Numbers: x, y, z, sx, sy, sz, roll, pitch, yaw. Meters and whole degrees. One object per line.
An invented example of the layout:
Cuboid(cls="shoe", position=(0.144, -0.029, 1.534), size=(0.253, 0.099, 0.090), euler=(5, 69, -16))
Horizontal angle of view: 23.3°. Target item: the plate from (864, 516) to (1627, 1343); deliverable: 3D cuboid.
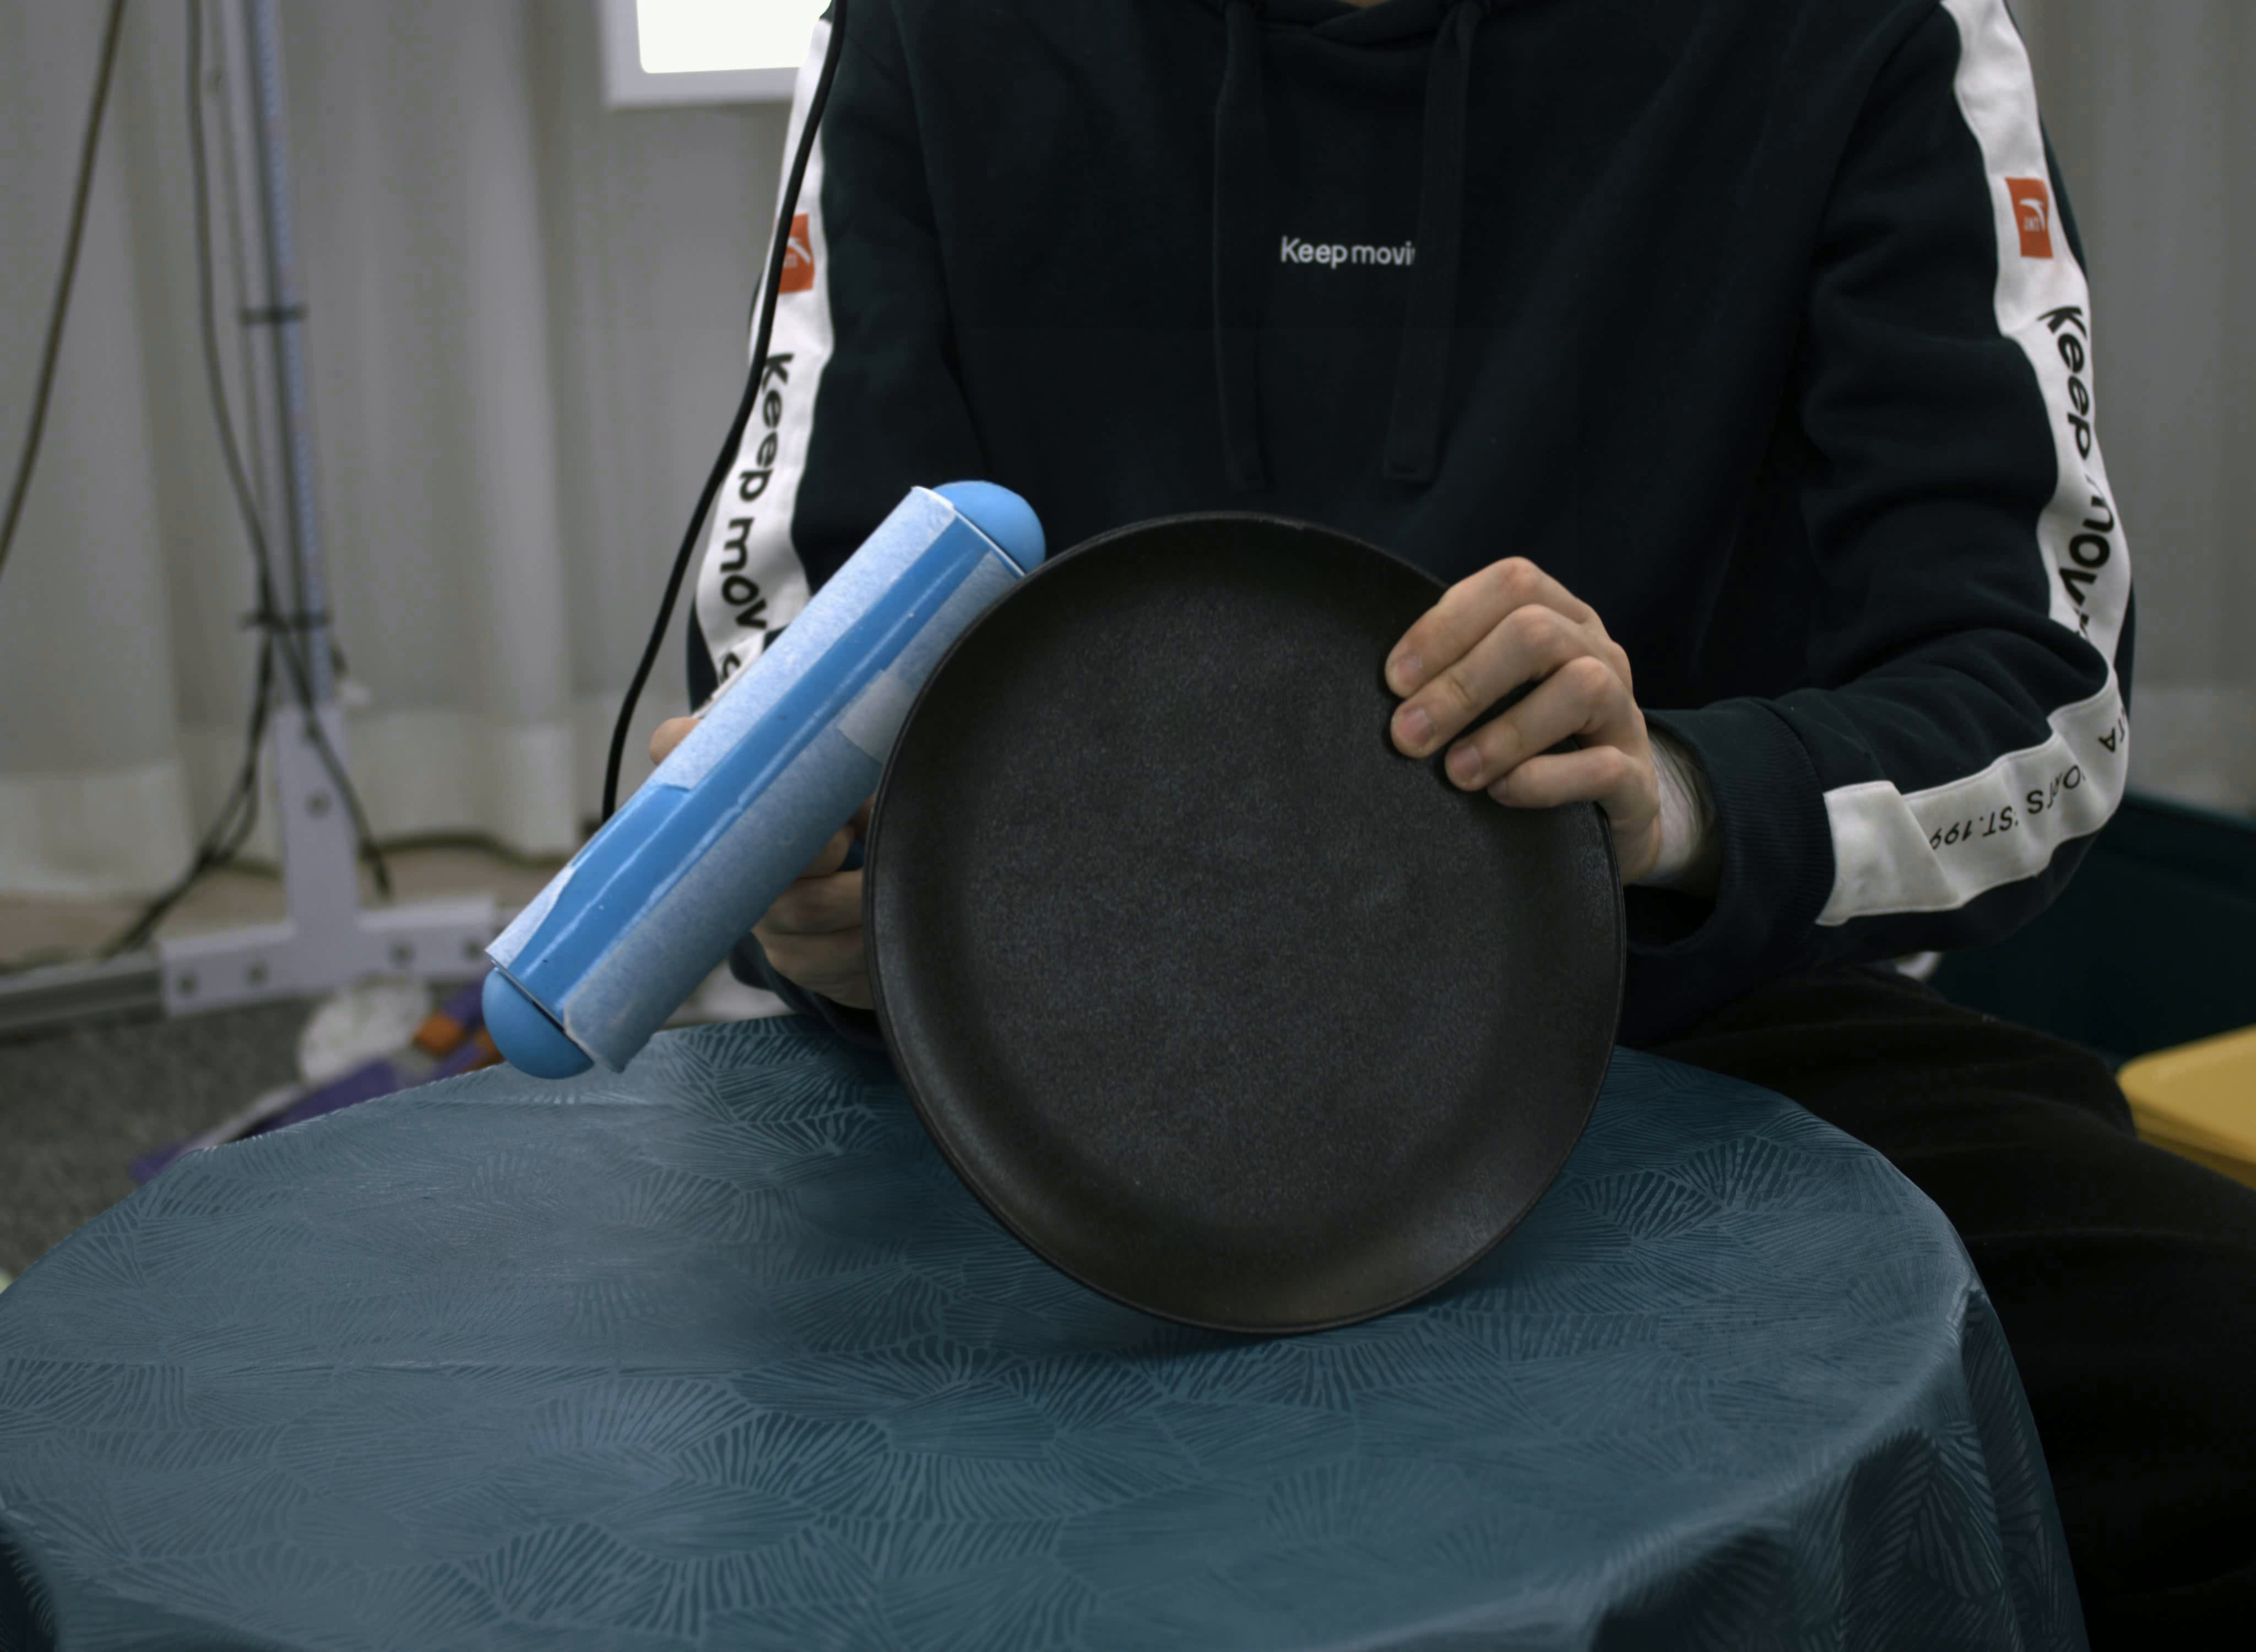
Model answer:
Cuboid(cls="plate", position=(0.034, 0.030, 1.603), size=(0.243, 0.246, 0.023), euler=(-9, -7, -24))

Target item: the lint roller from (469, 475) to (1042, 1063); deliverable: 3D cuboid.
Cuboid(cls="lint roller", position=(-0.102, 0.003, 1.695), size=(0.068, 0.229, 0.178), euler=(39, -11, 21))
